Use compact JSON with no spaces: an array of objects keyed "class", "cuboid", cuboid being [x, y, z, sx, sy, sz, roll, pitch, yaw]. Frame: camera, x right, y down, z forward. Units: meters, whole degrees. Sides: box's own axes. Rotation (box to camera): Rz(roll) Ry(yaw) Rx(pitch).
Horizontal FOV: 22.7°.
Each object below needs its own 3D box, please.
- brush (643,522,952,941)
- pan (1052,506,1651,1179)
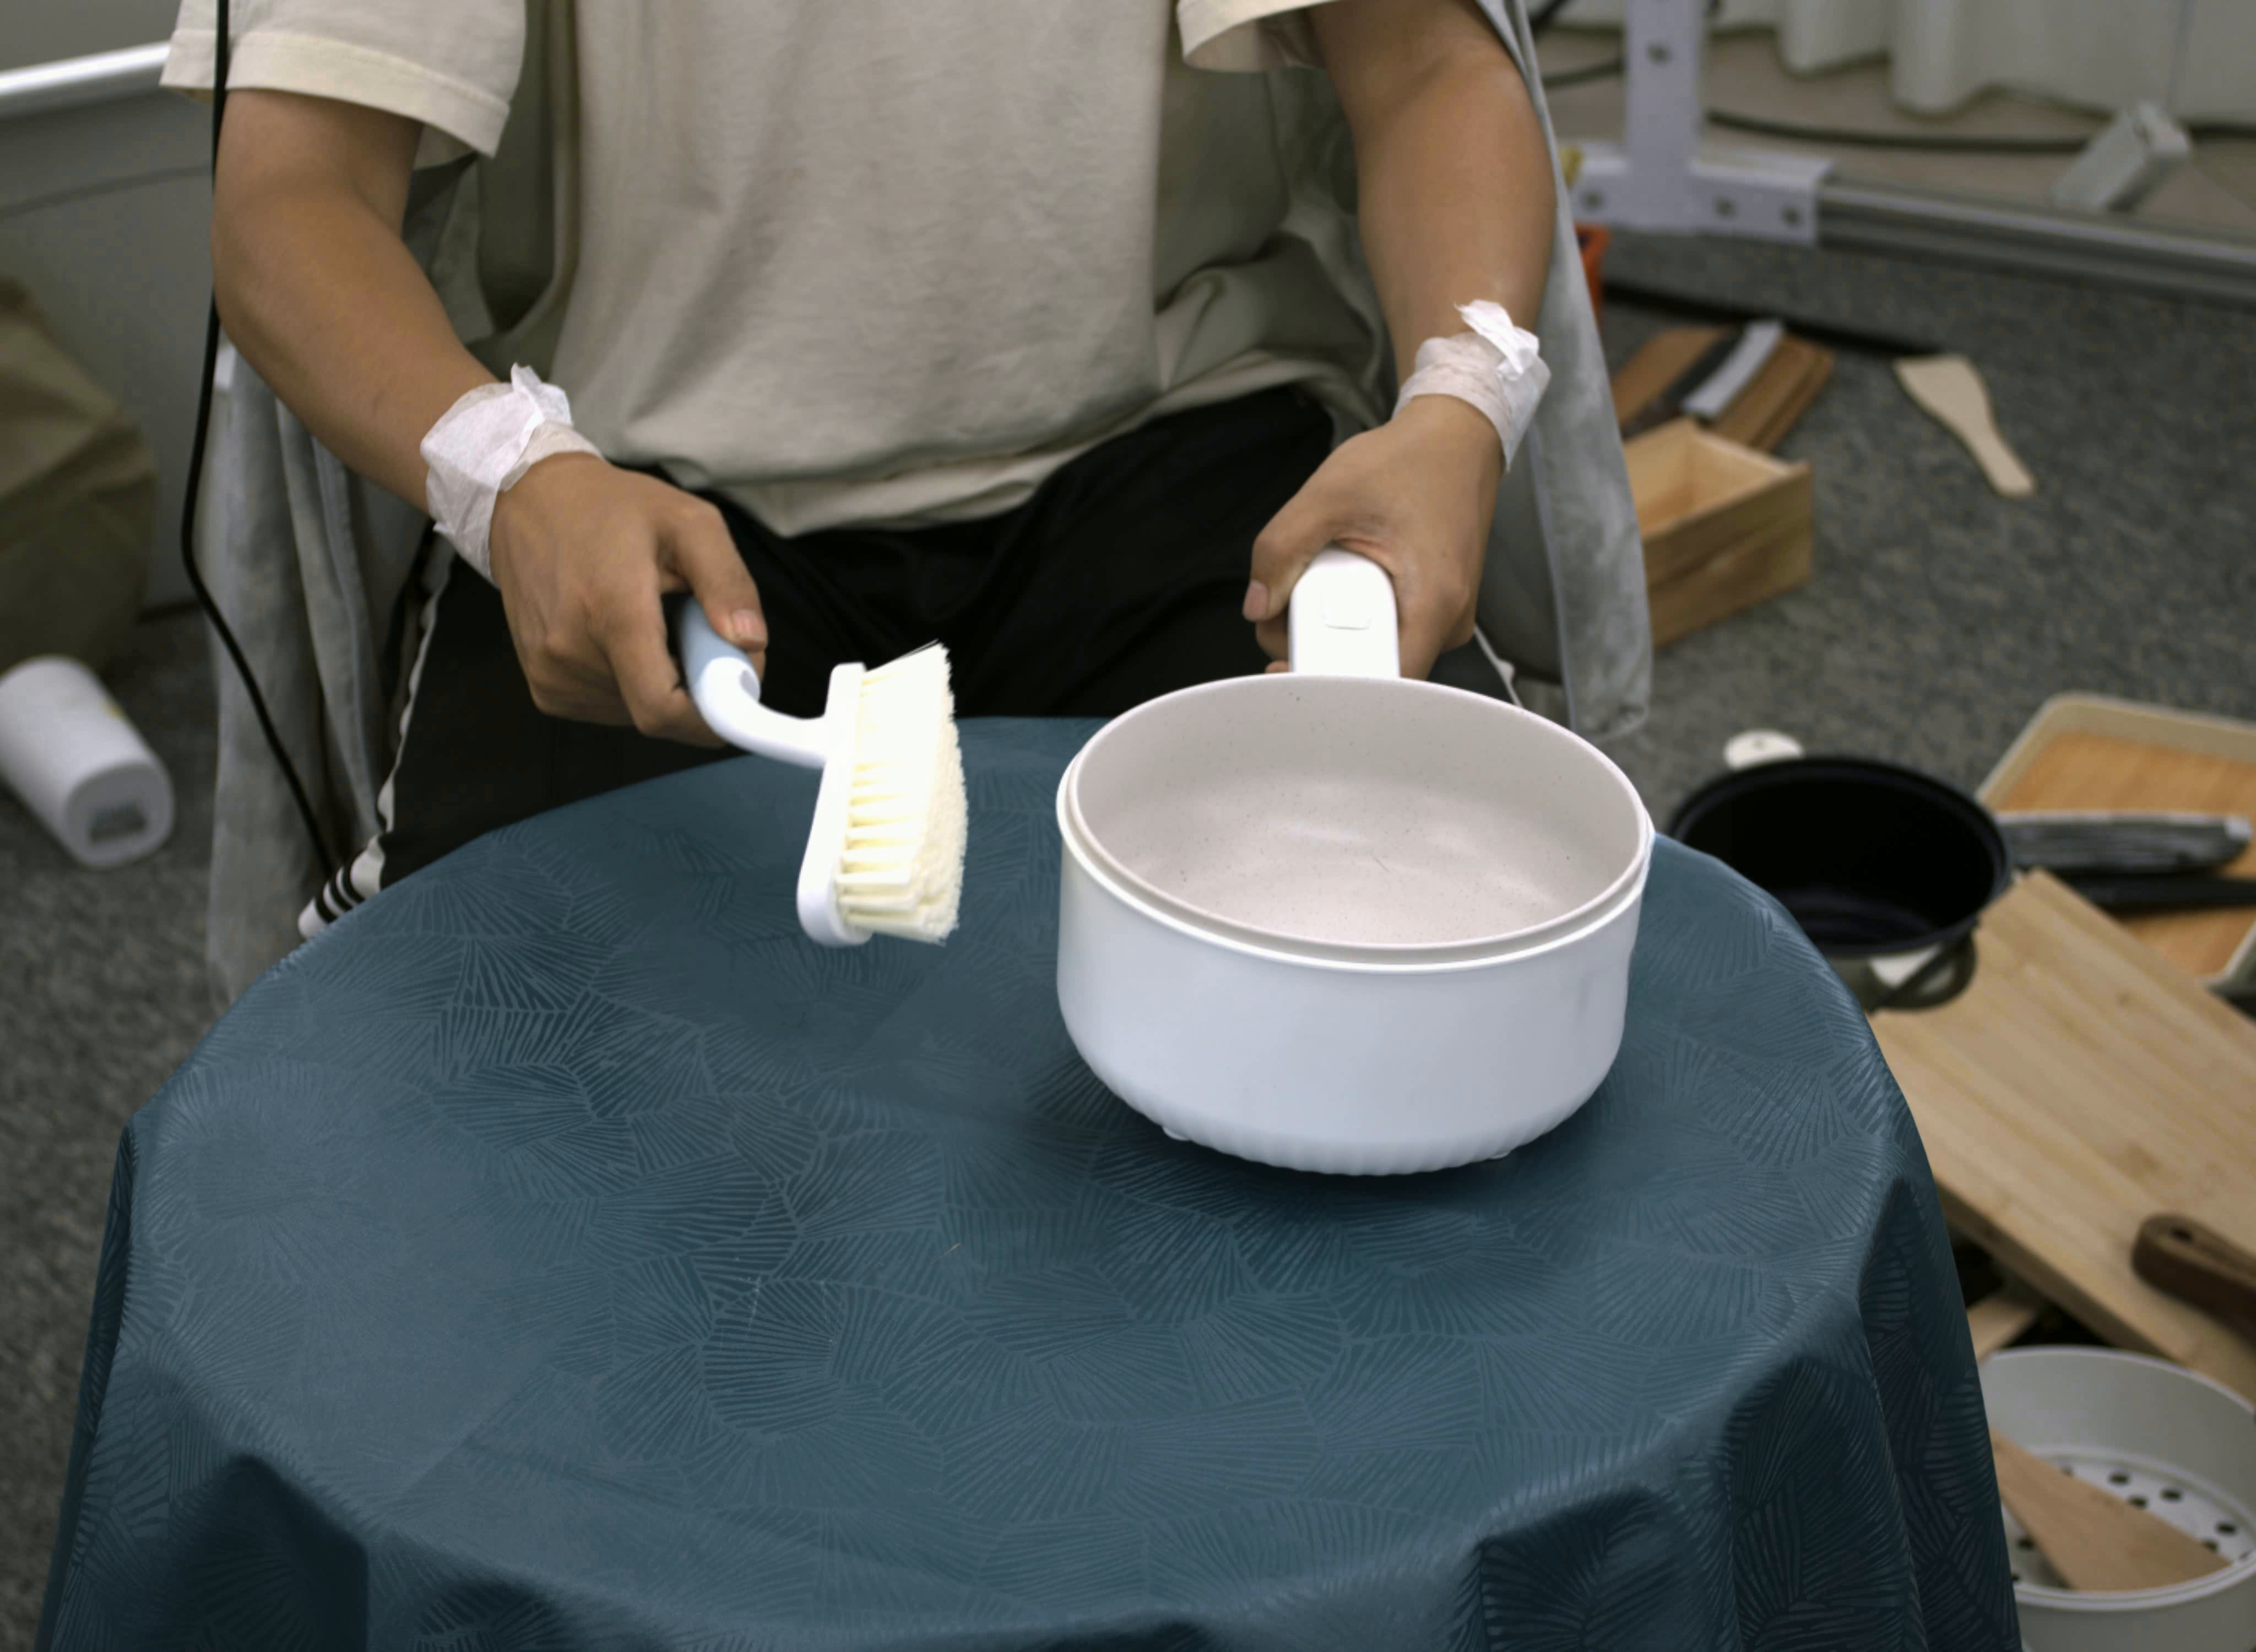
[{"class":"brush","cuboid":[-0.100,-0.048,1.927,0.084,0.082,0.329,26,16,-21]},{"class":"pan","cuboid":[0.073,0.003,1.965,0.200,0.101,0.360,3,27,-1]}]
